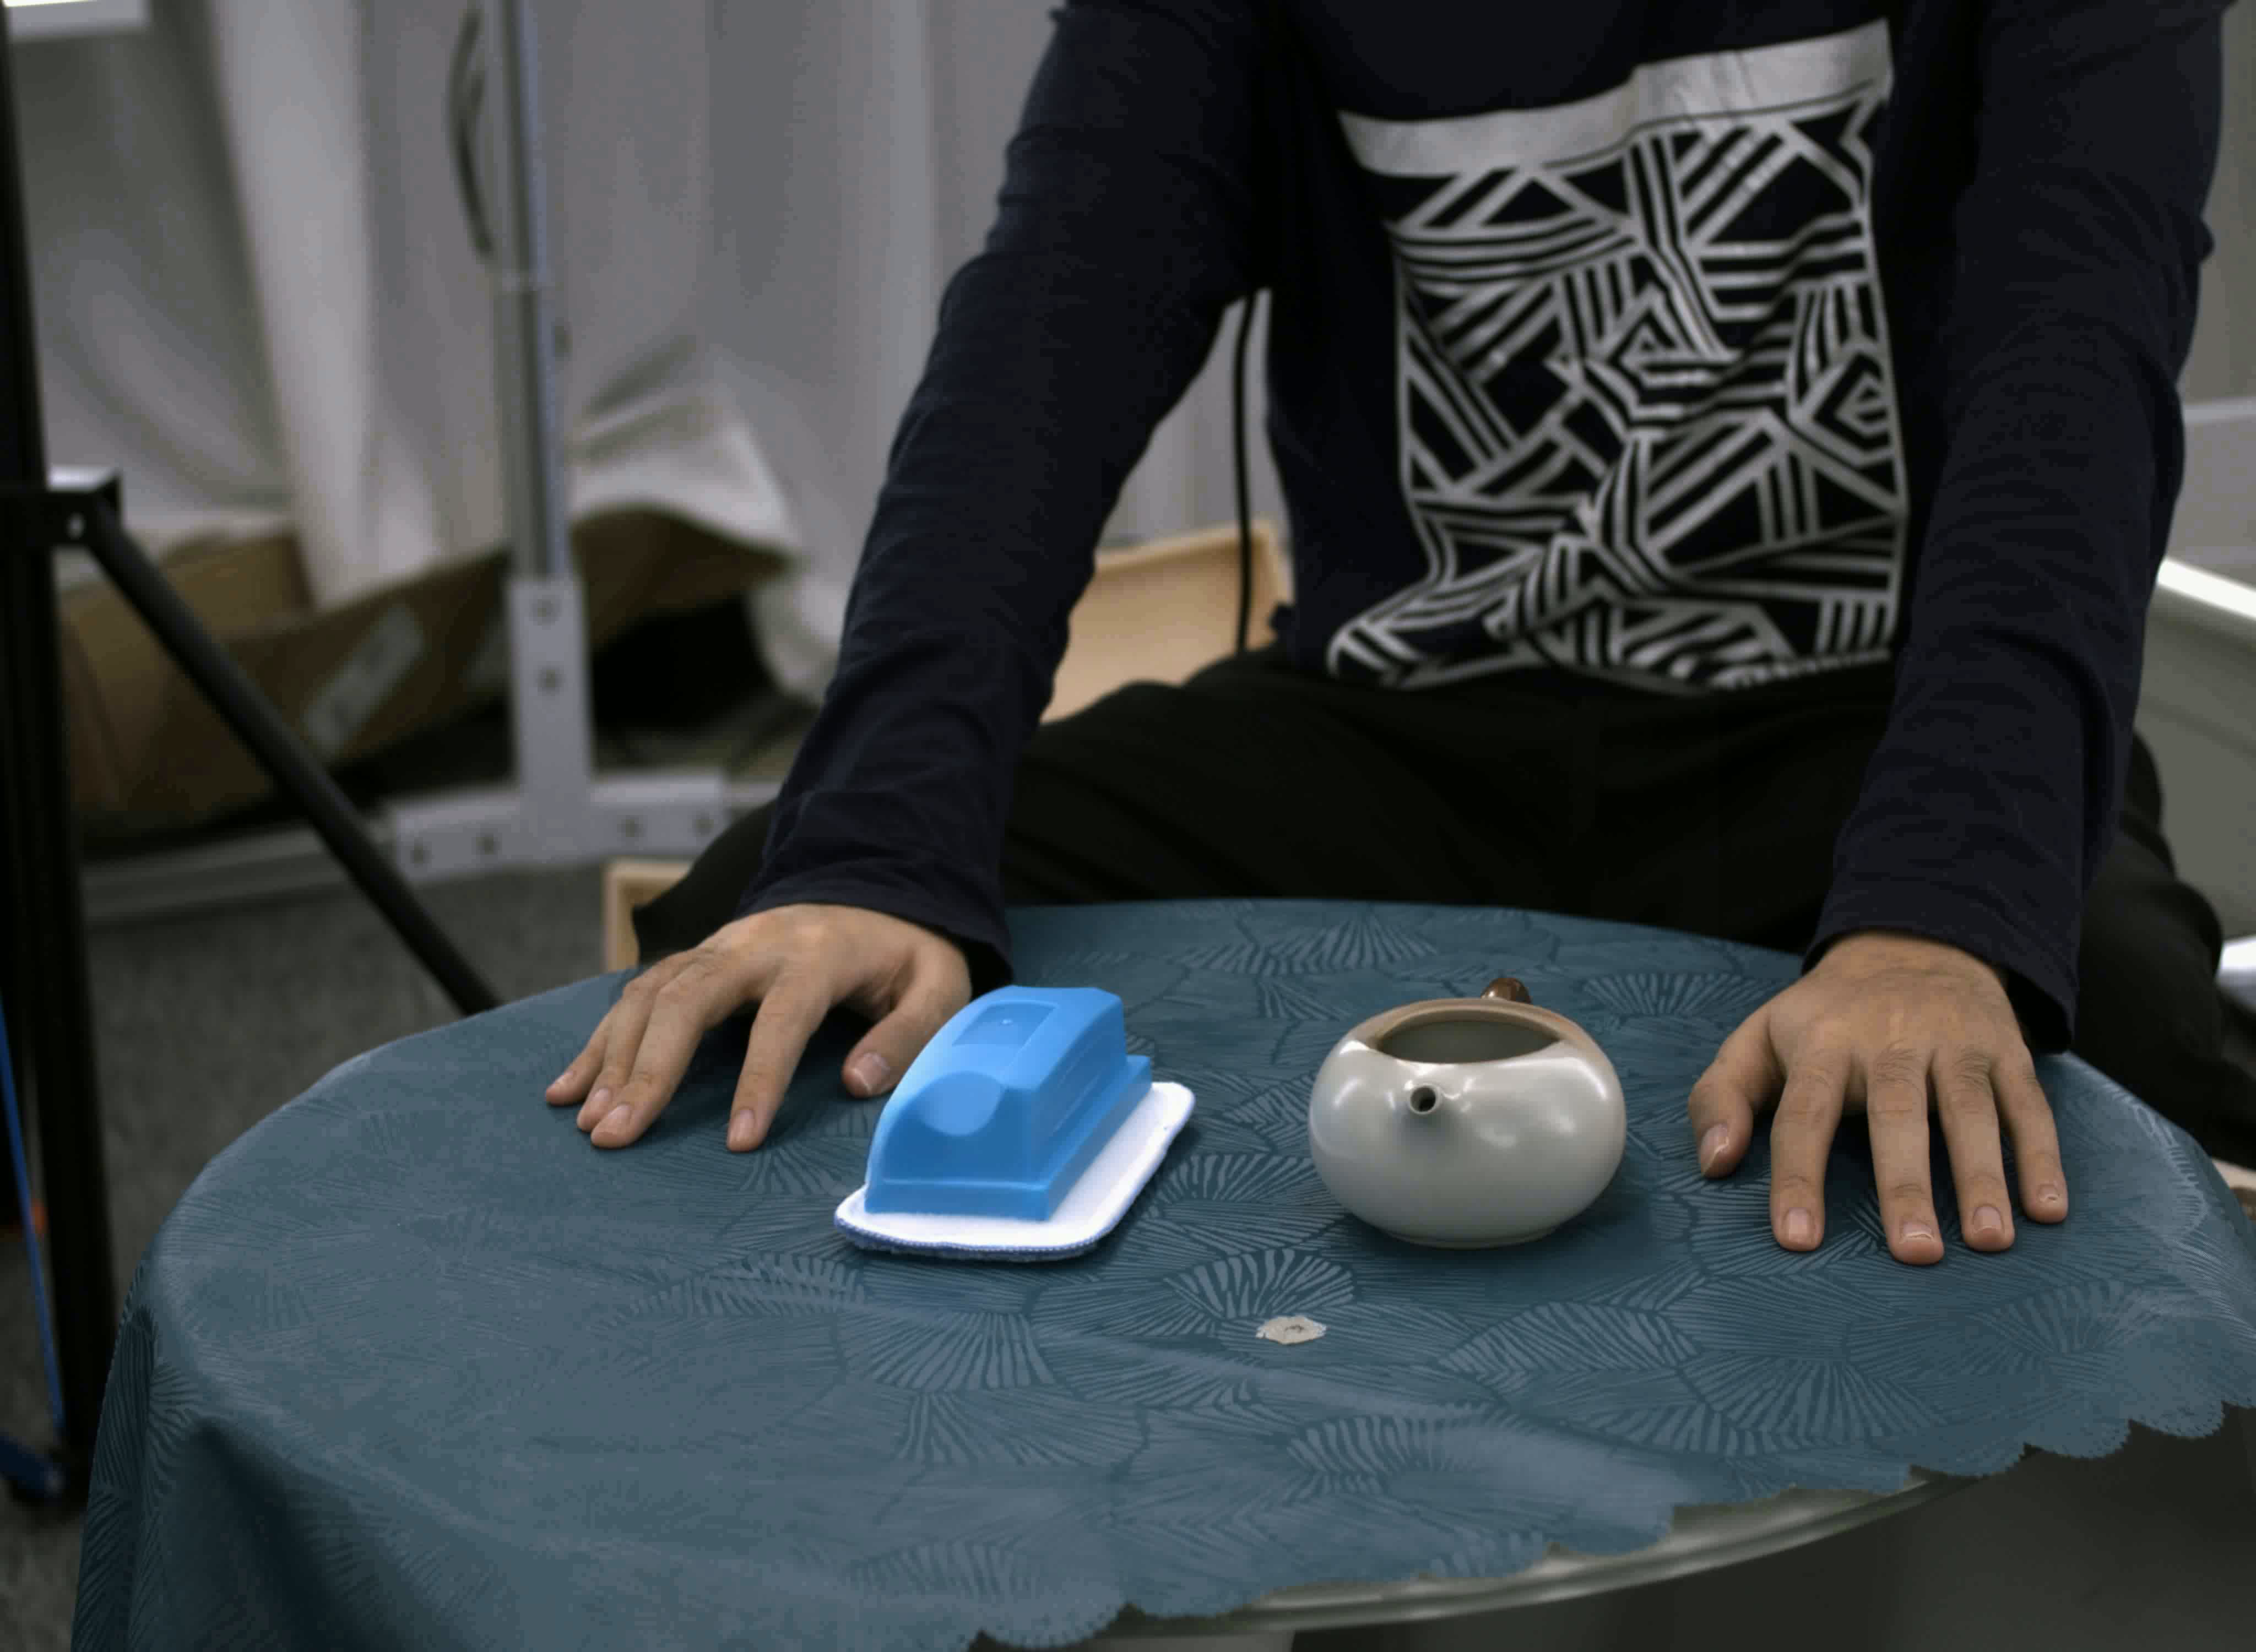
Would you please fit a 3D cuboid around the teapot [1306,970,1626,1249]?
[{"bbox_3d":[0.099,0.082,1.528,0.092,0.059,0.127,-1,17,15],"label":"teapot"}]

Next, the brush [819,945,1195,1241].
[{"bbox_3d":[-0.034,0.075,1.571,0.084,0.056,0.142,6,20,16],"label":"brush"}]
